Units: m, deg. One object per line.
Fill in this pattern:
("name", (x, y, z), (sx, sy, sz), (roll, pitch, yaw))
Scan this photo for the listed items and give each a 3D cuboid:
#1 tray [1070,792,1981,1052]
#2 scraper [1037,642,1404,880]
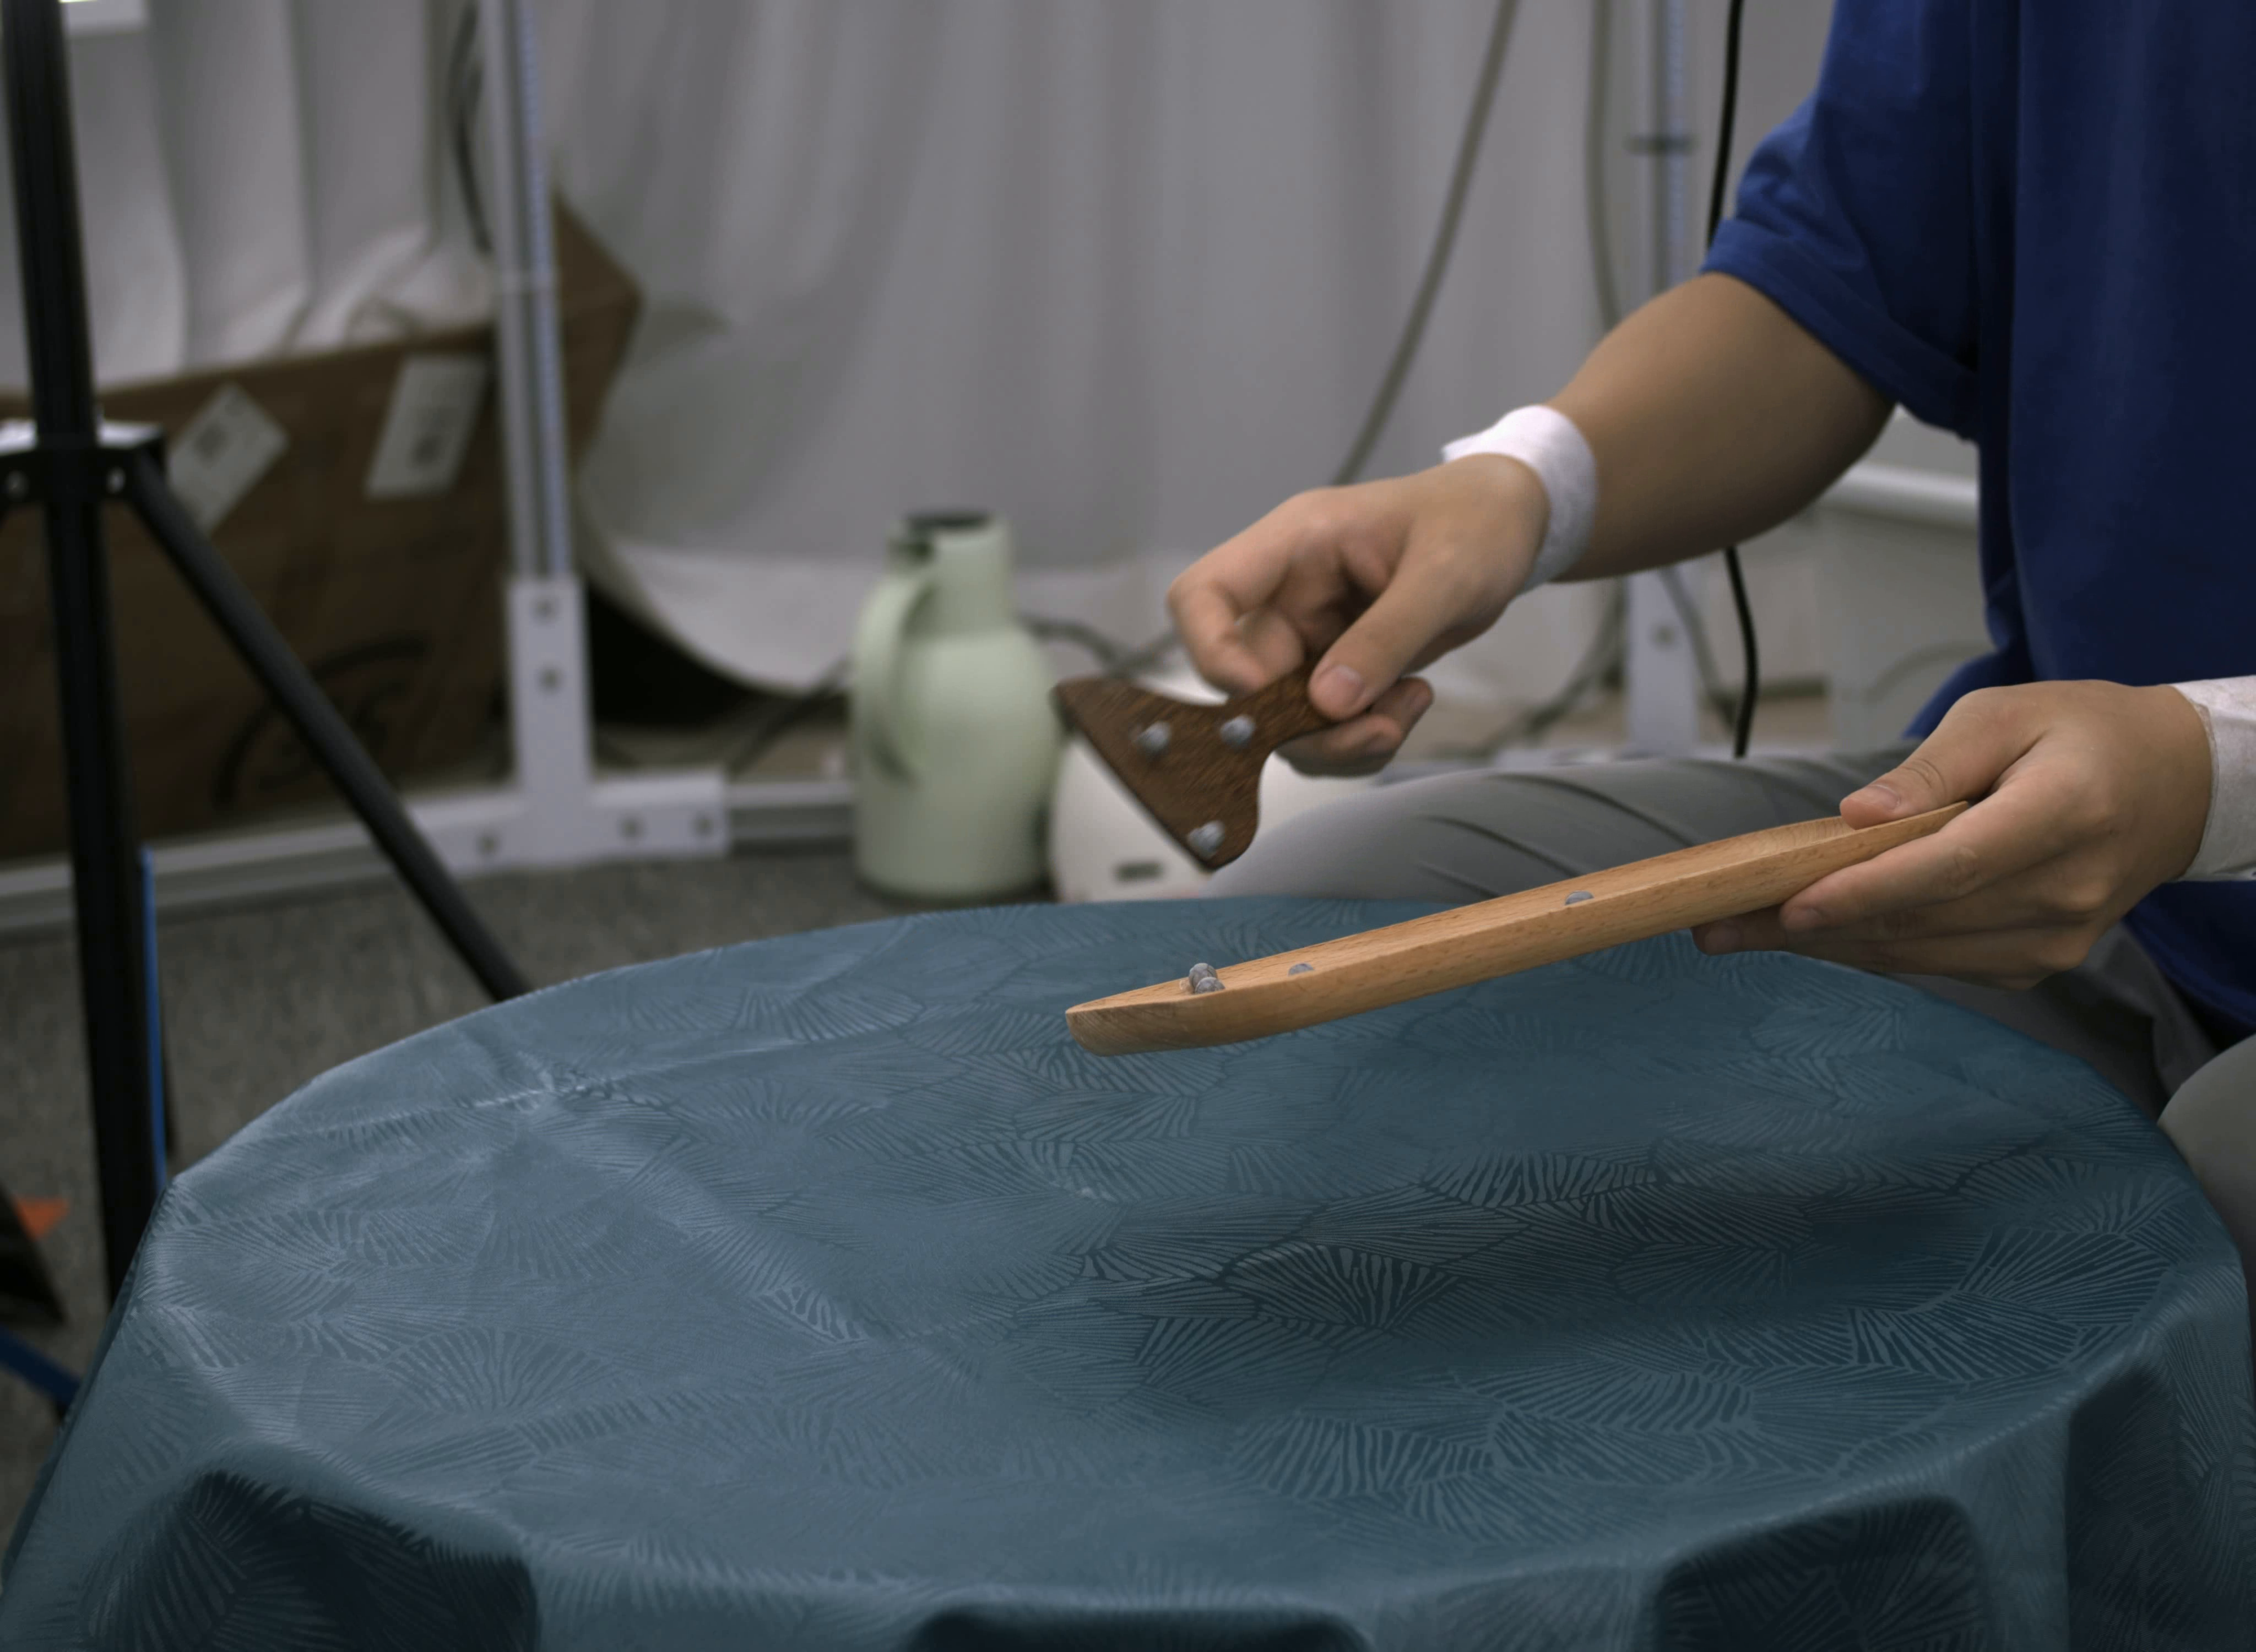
("tray", (0.112, 0.028, 1.482), (0.246, 0.023, 0.132), (-13, 4, -21))
("scraper", (0.038, -0.029, 1.648), (0.076, 0.011, 0.207), (47, 27, 10))
